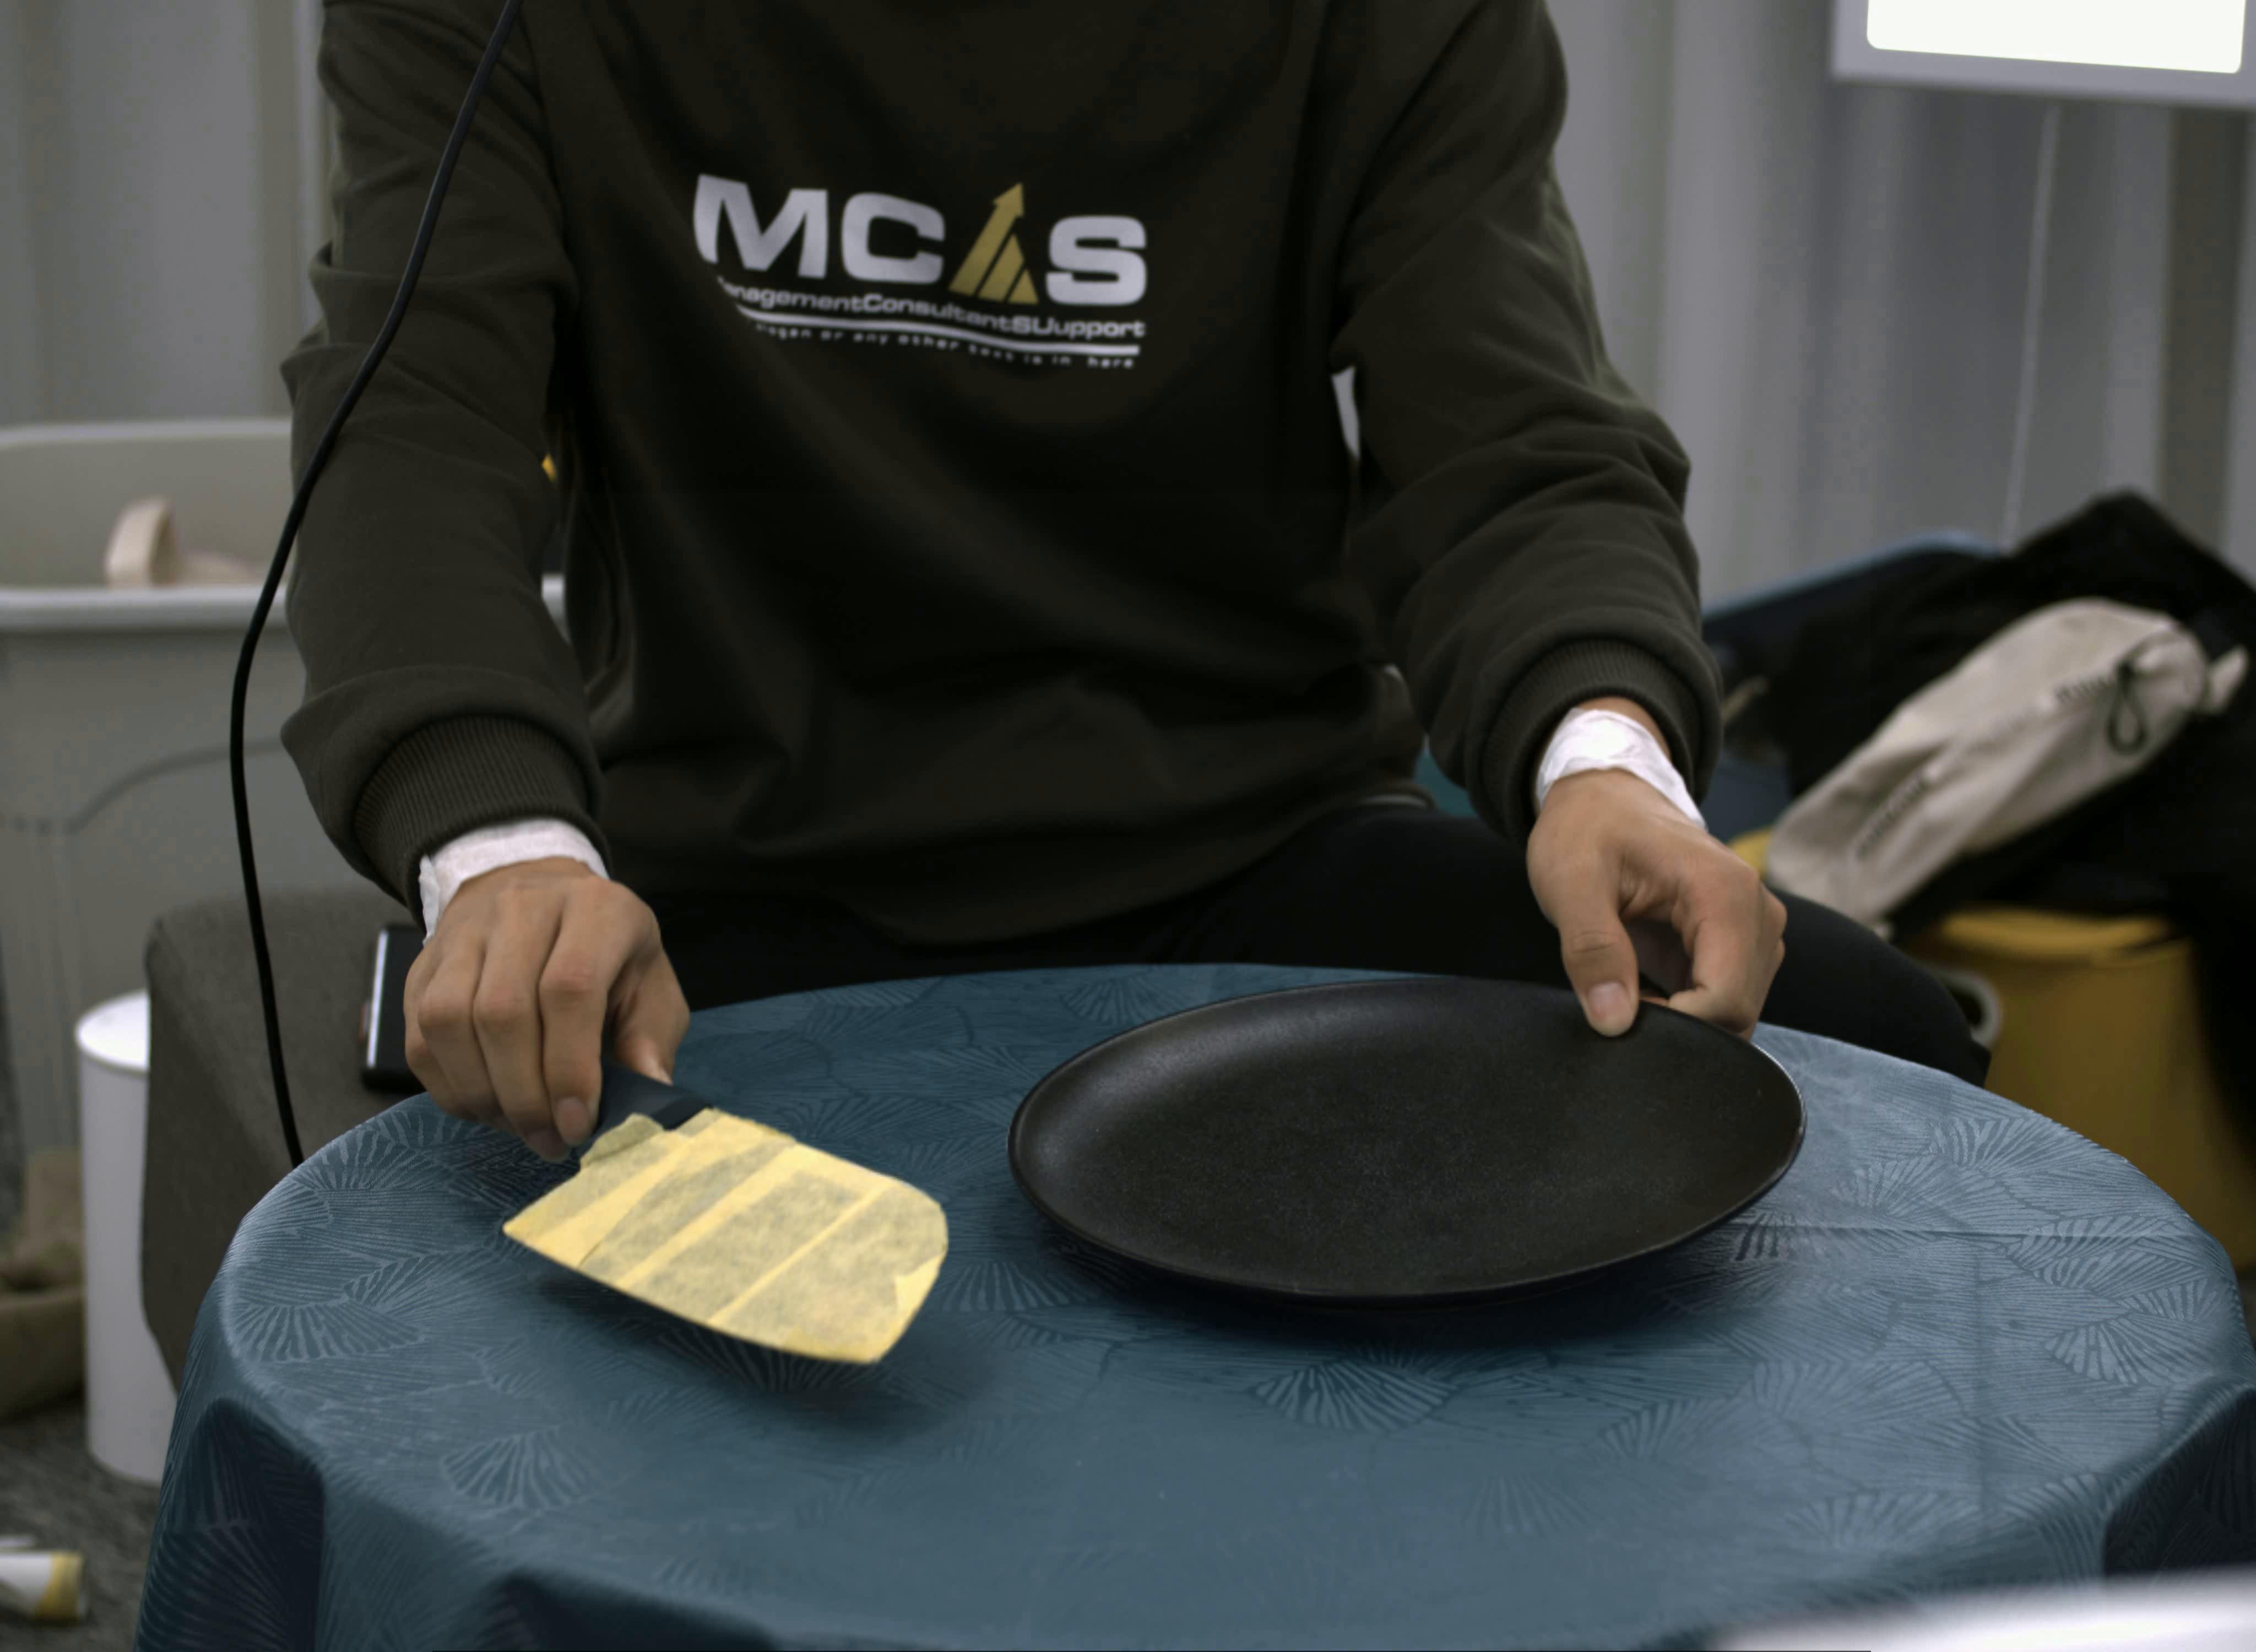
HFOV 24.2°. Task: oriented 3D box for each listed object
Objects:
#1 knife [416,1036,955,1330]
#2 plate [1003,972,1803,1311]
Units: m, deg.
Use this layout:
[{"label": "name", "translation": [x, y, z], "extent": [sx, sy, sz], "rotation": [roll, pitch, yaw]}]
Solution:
[{"label": "knife", "translation": [-0.141, 0.103, 1.537], "extent": [0.081, 0.027, 0.286], "rotation": [-32, 27, -27]}, {"label": "plate", "translation": [0.083, 0.099, 1.599], "extent": [0.243, 0.023, 0.243], "rotation": [-2, 20, 1]}]
